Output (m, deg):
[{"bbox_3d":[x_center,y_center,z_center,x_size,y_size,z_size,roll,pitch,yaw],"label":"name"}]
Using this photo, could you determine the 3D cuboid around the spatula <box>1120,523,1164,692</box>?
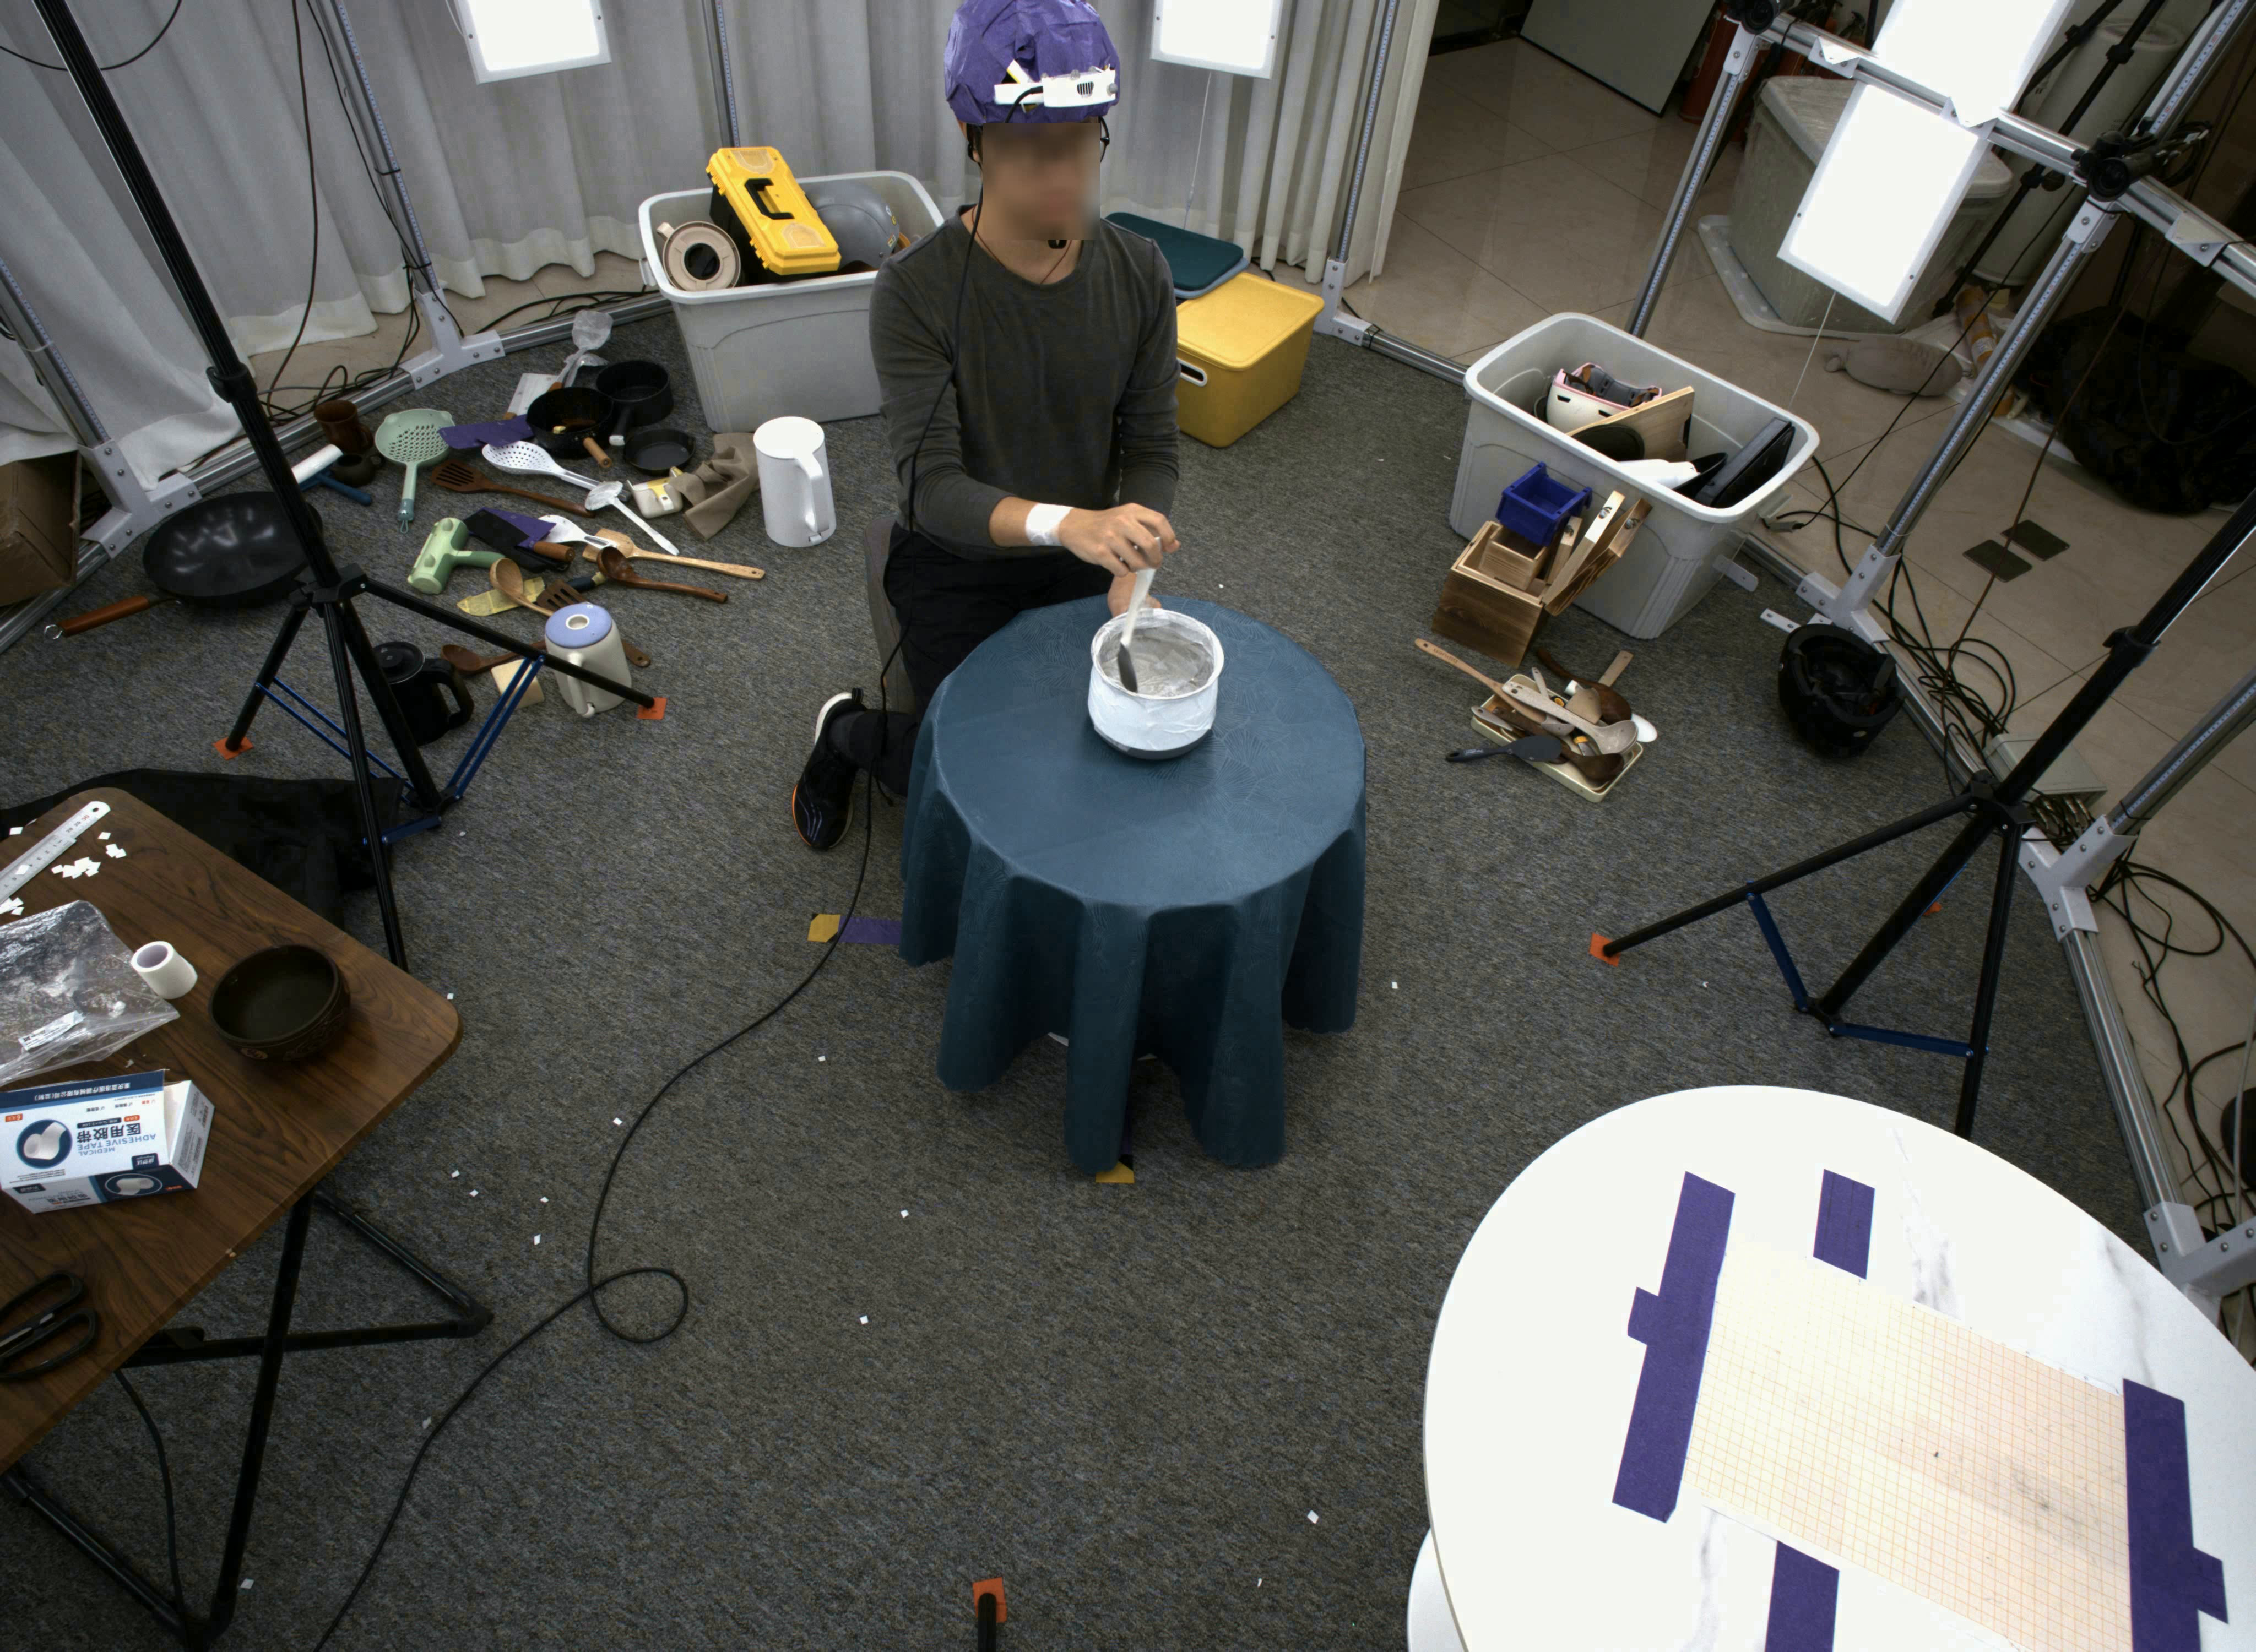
[{"bbox_3d":[0.013,-0.259,1.637,0.032,0.281,0.060,-19,53,-22],"label":"spatula"}]

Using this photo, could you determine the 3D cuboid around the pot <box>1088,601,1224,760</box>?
[{"bbox_3d":[0.029,-0.209,1.763,0.178,0.133,0.239,-7,50,-11],"label":"pot"}]
